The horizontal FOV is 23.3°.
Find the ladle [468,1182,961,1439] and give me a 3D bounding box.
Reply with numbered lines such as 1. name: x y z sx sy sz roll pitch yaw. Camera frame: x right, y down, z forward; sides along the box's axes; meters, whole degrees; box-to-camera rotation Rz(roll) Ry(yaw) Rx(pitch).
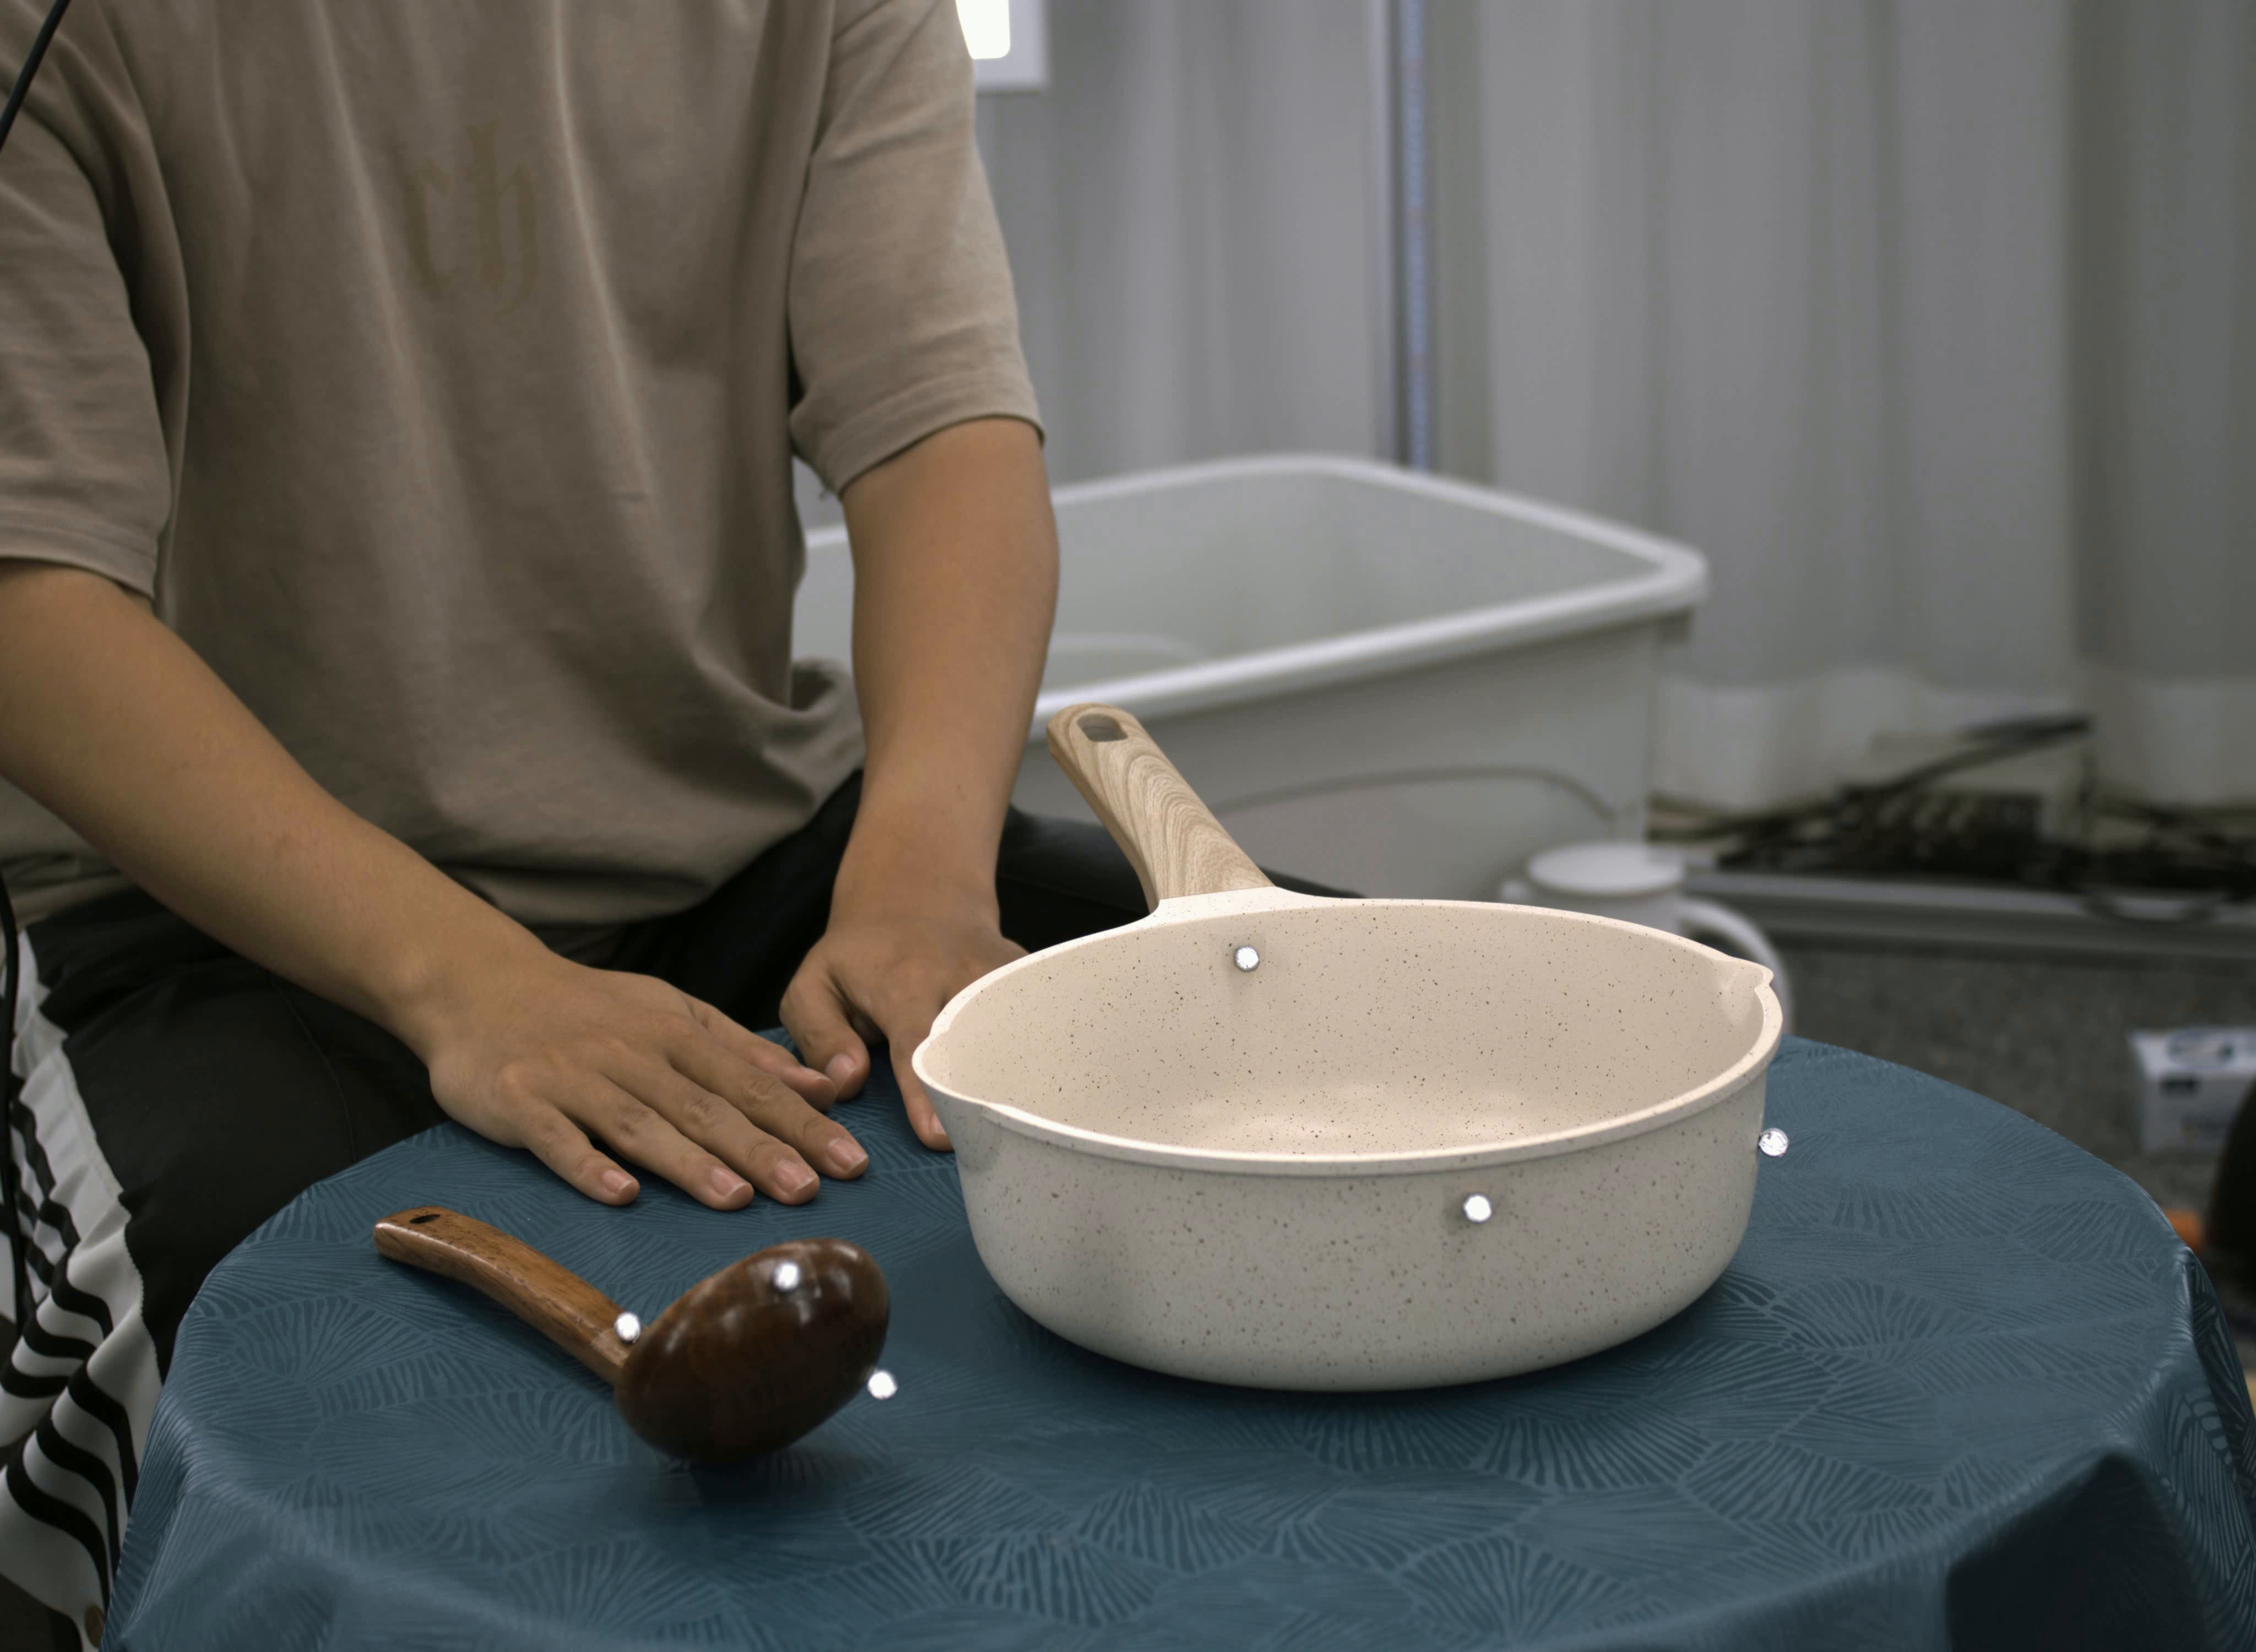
1. ladle: -0.135 0.115 1.570 0.081 0.076 0.276 -12 17 -27

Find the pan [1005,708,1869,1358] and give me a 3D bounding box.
1. pan: 0.069 0.058 1.705 0.262 0.101 0.438 -8 15 -14
